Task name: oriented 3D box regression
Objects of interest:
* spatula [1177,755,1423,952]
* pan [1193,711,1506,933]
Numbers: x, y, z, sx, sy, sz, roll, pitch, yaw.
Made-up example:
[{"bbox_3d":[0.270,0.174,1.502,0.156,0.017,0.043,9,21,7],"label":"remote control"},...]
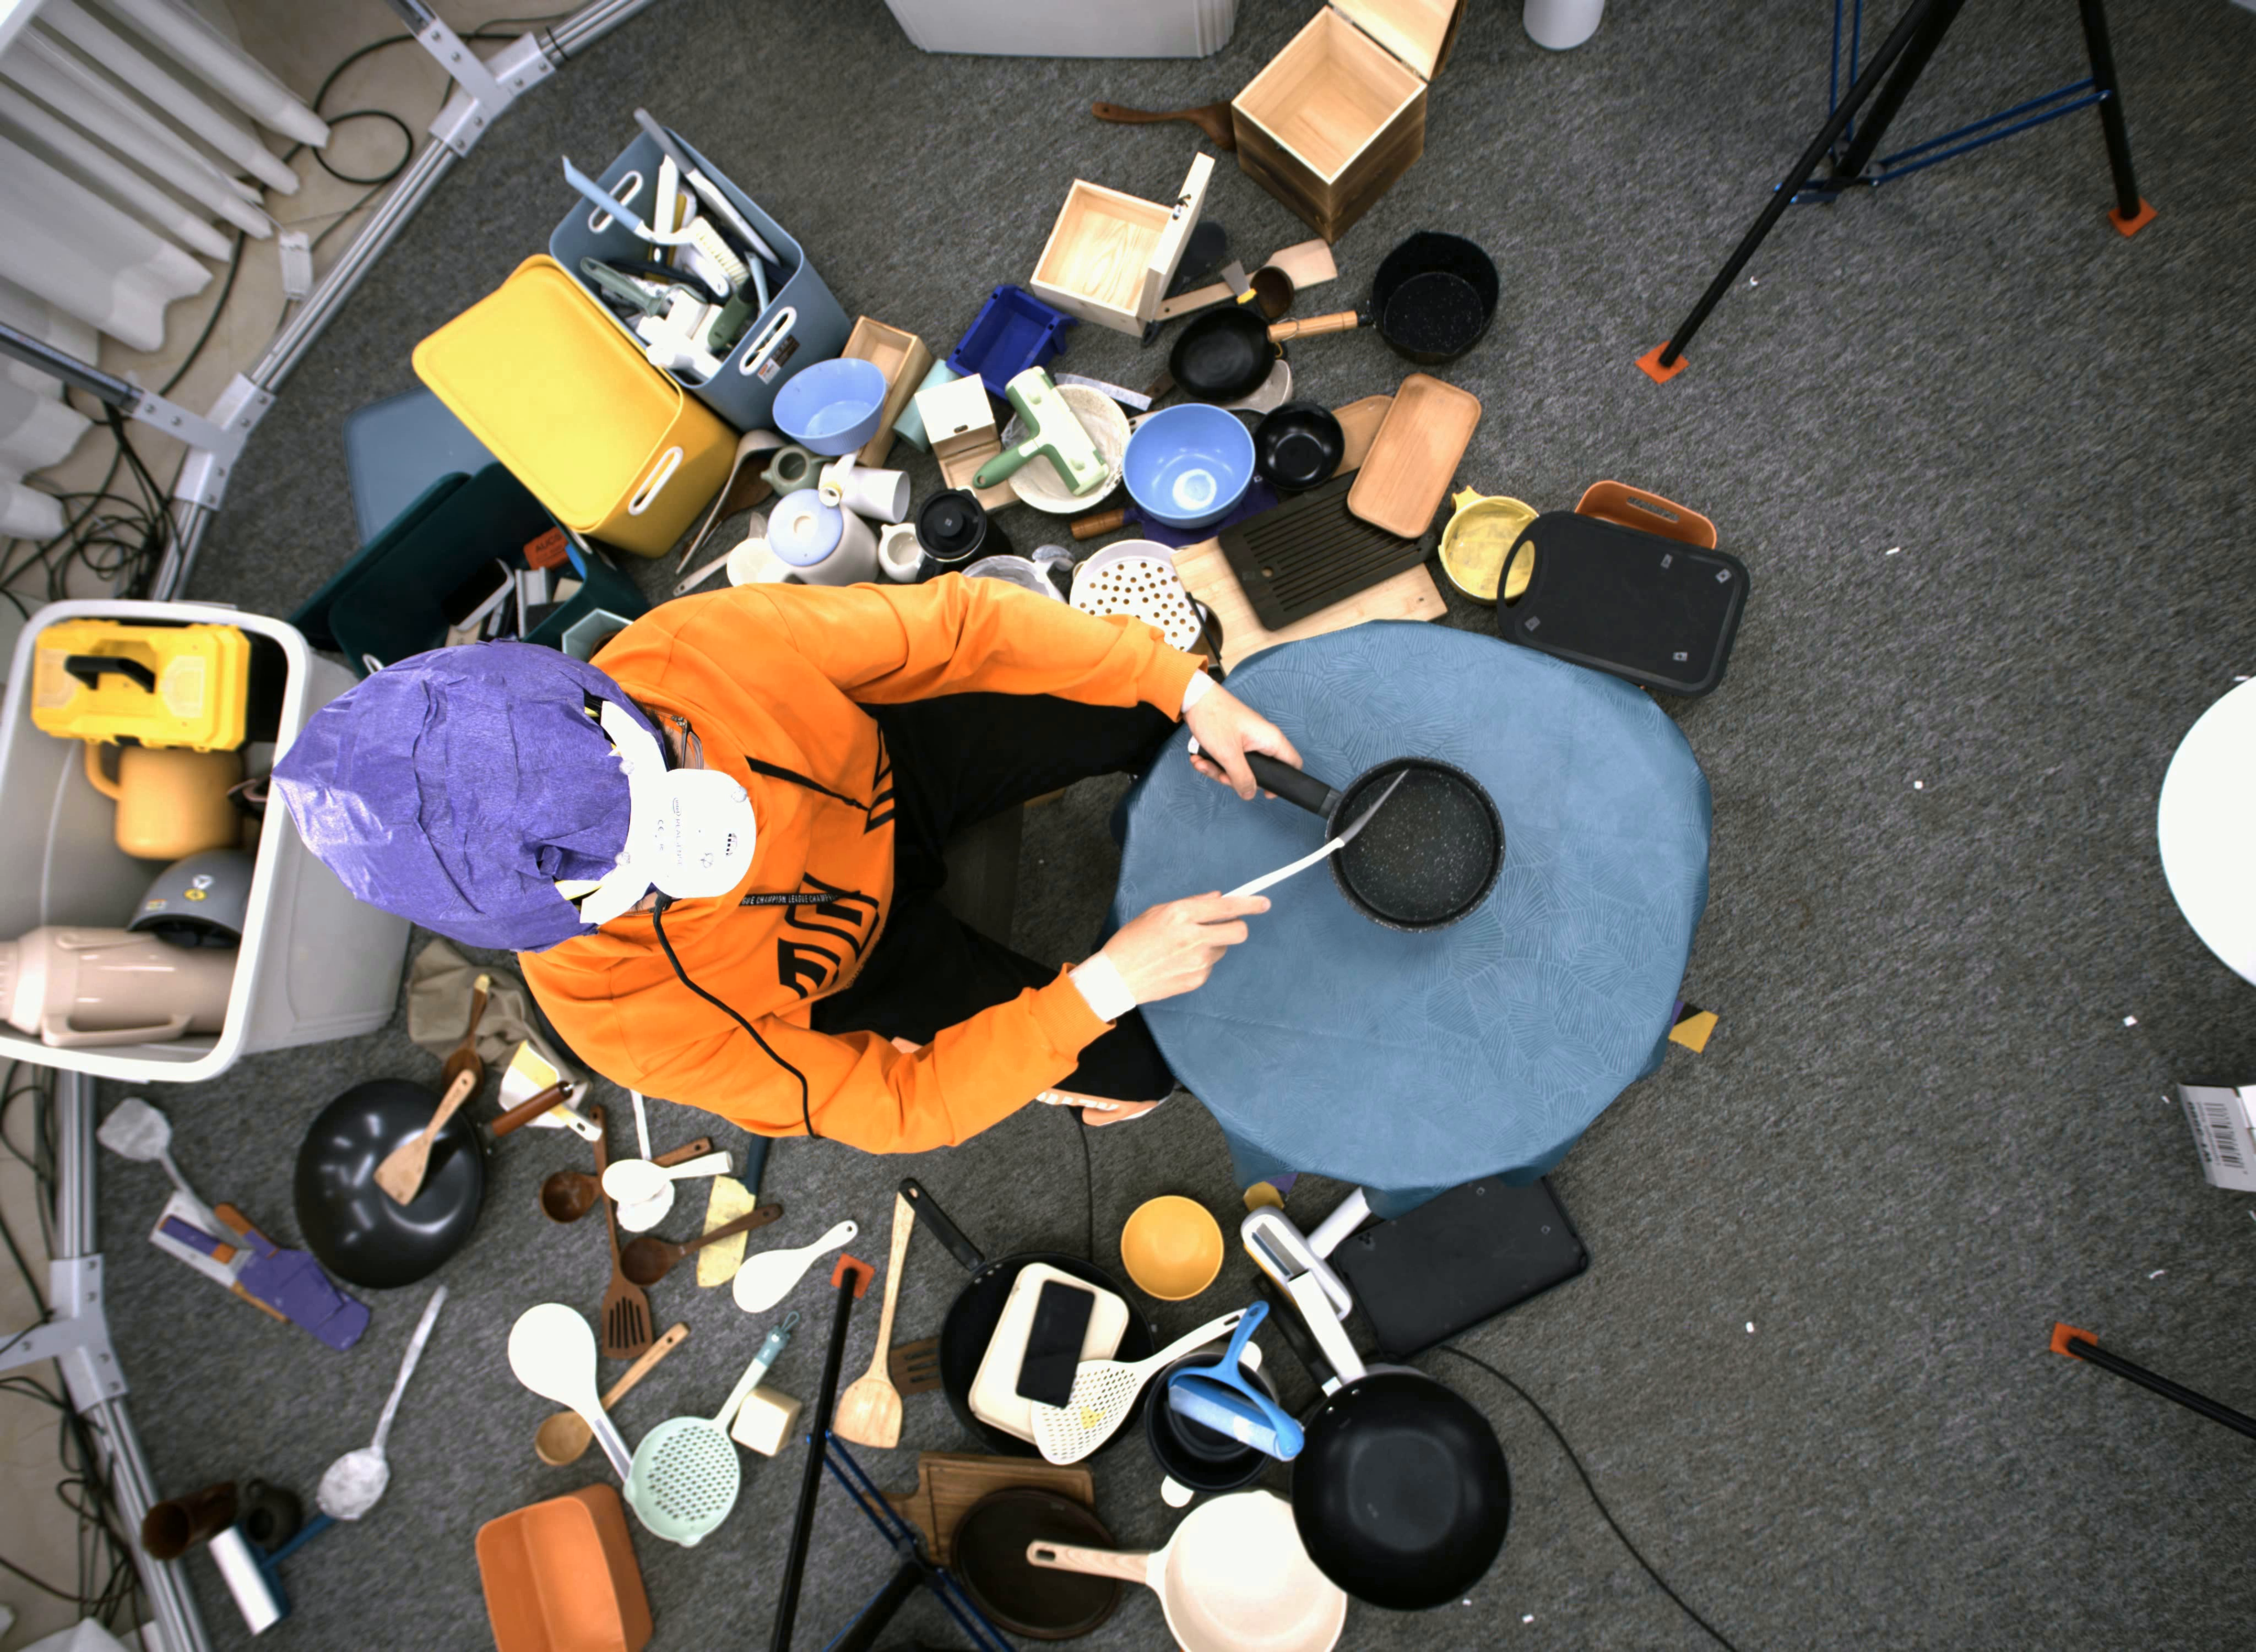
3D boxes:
[{"bbox_3d":[0.171,0.024,1.325,0.287,0.059,0.032,-36,79,-2],"label":"spatula"},{"bbox_3d":[0.216,-0.020,1.377,0.328,0.086,0.173,29,96,10],"label":"pan"}]
